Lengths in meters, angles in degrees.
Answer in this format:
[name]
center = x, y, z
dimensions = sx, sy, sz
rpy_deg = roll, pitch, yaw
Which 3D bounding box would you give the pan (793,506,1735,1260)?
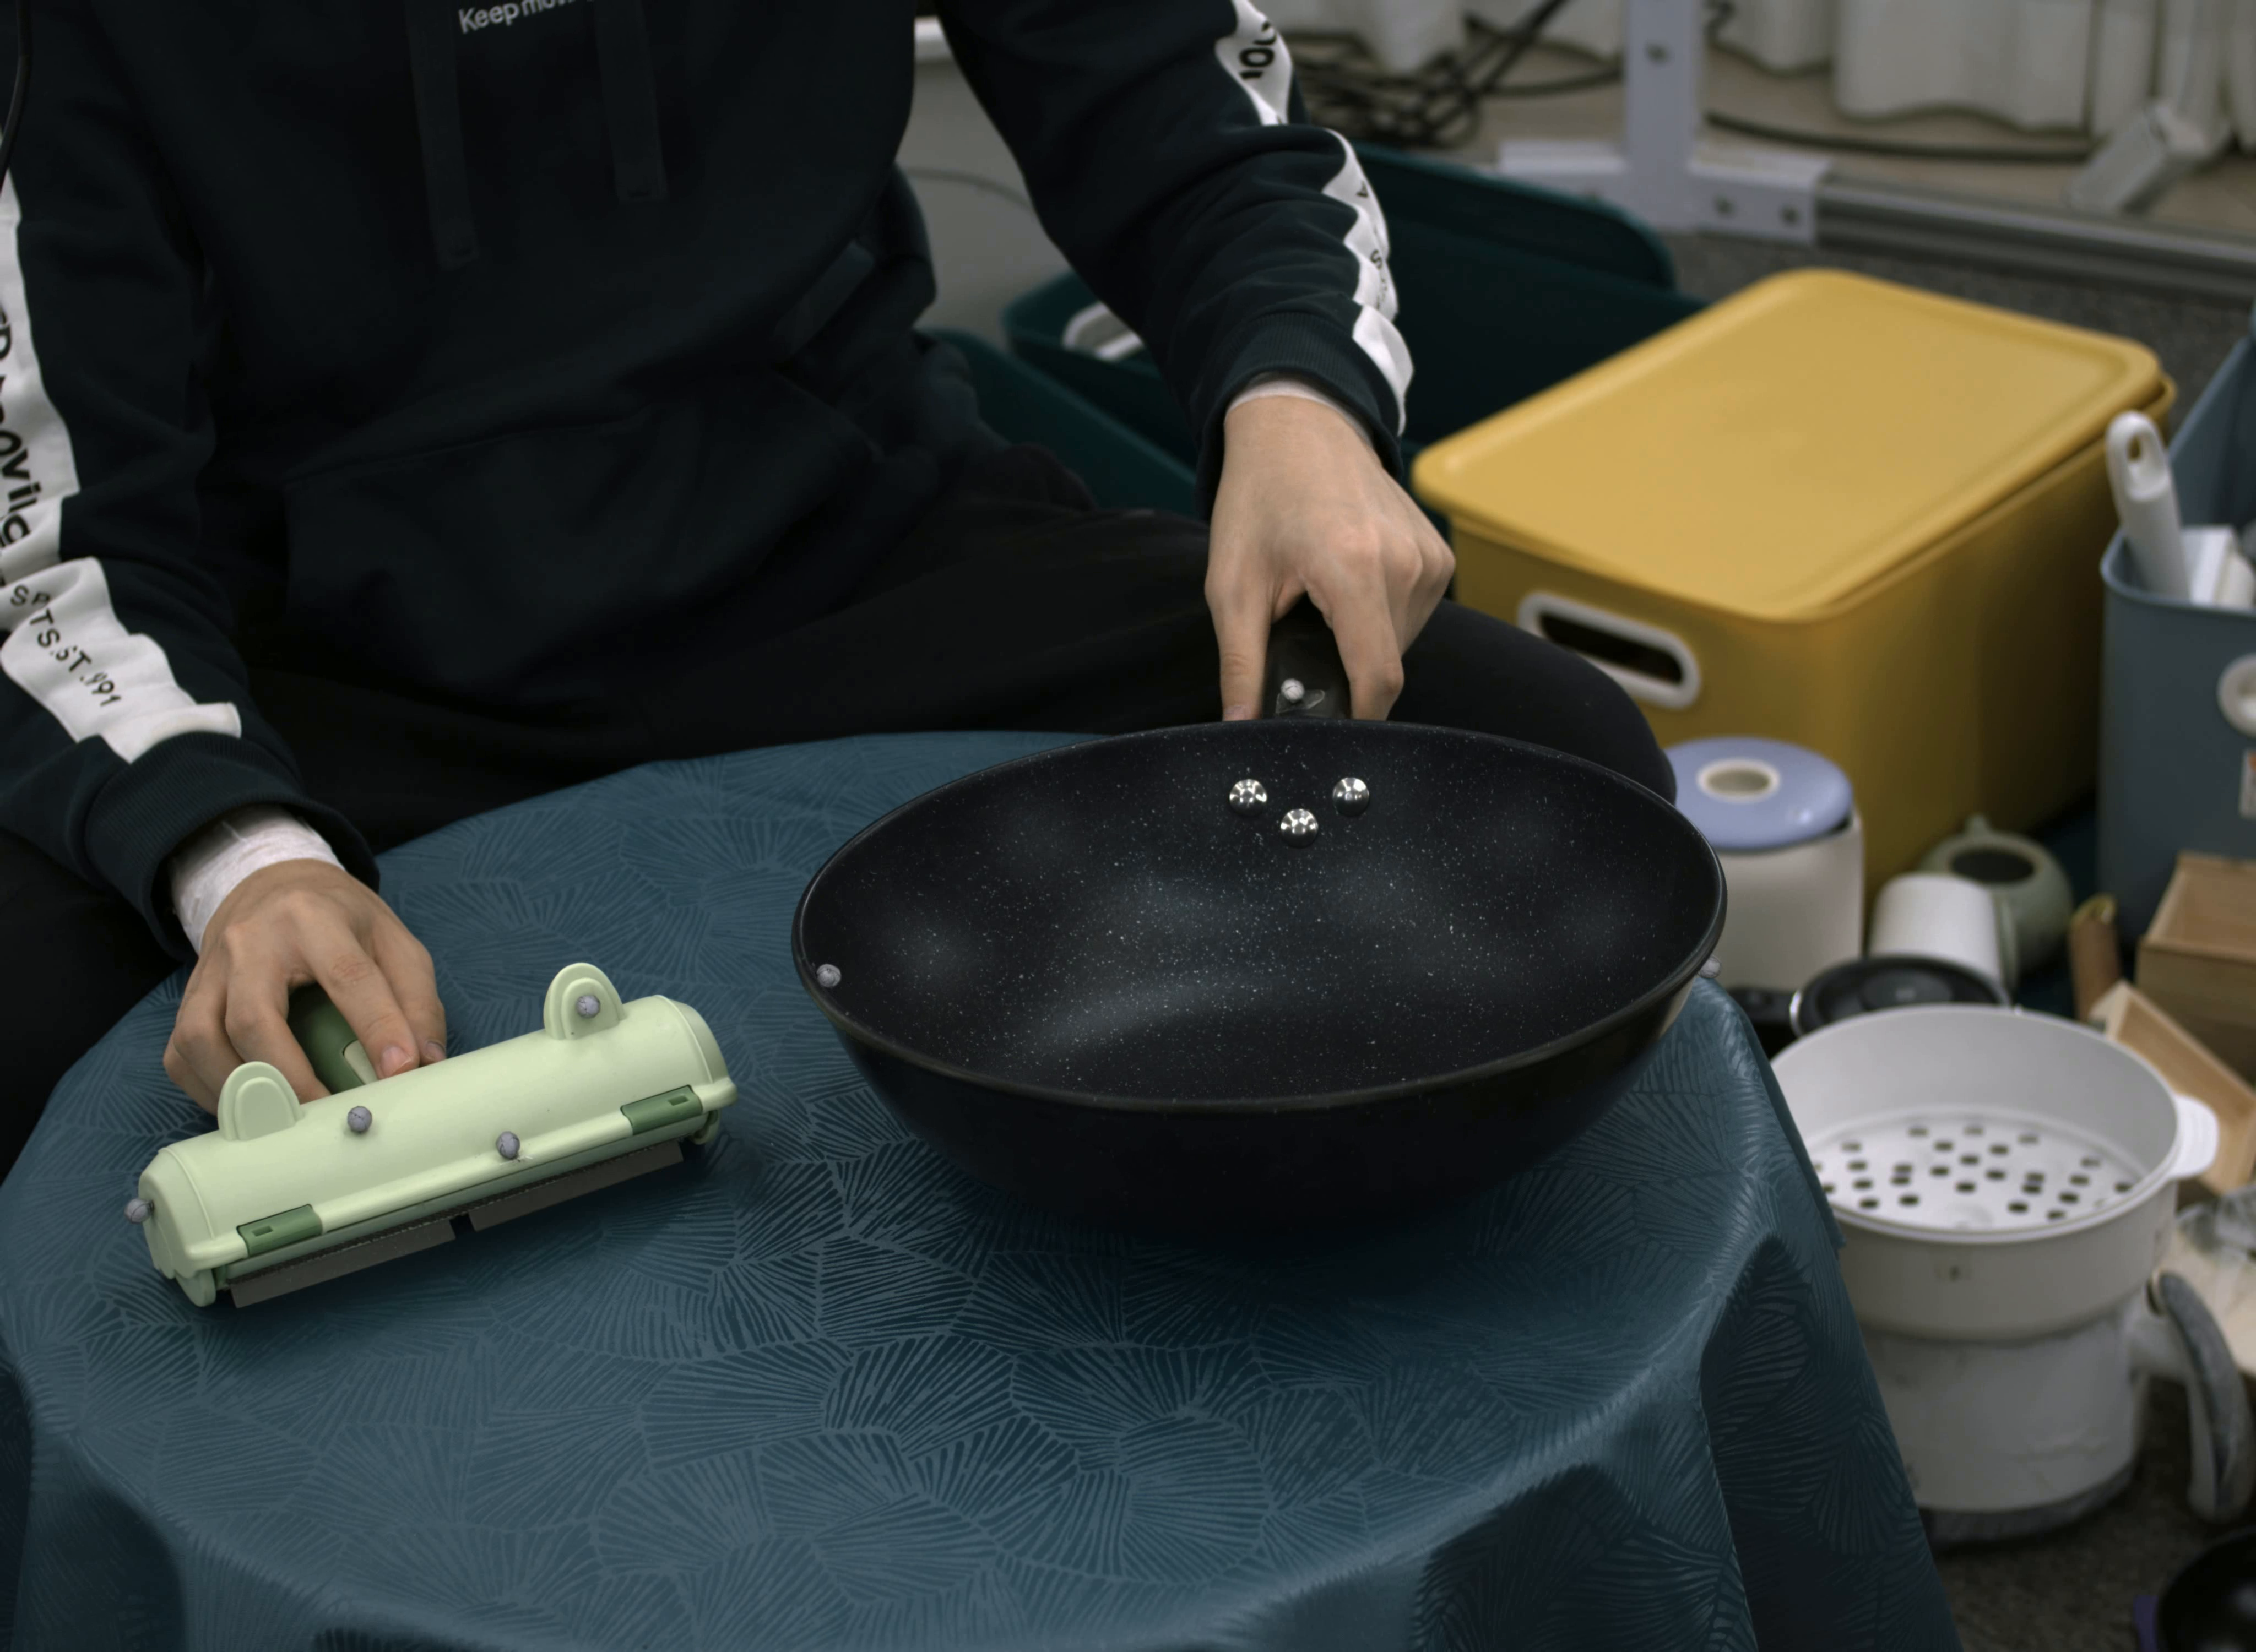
[pan]
center = 0.054, 0.022, 1.934
dimensions = 0.308, 0.110, 0.484
rpy_deg = 1, 23, 6

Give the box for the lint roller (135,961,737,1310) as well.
[lint roller]
center = -0.255, 0.076, 1.893
dimensions = 0.200, 0.081, 0.184
rpy_deg = -17, 35, -24
